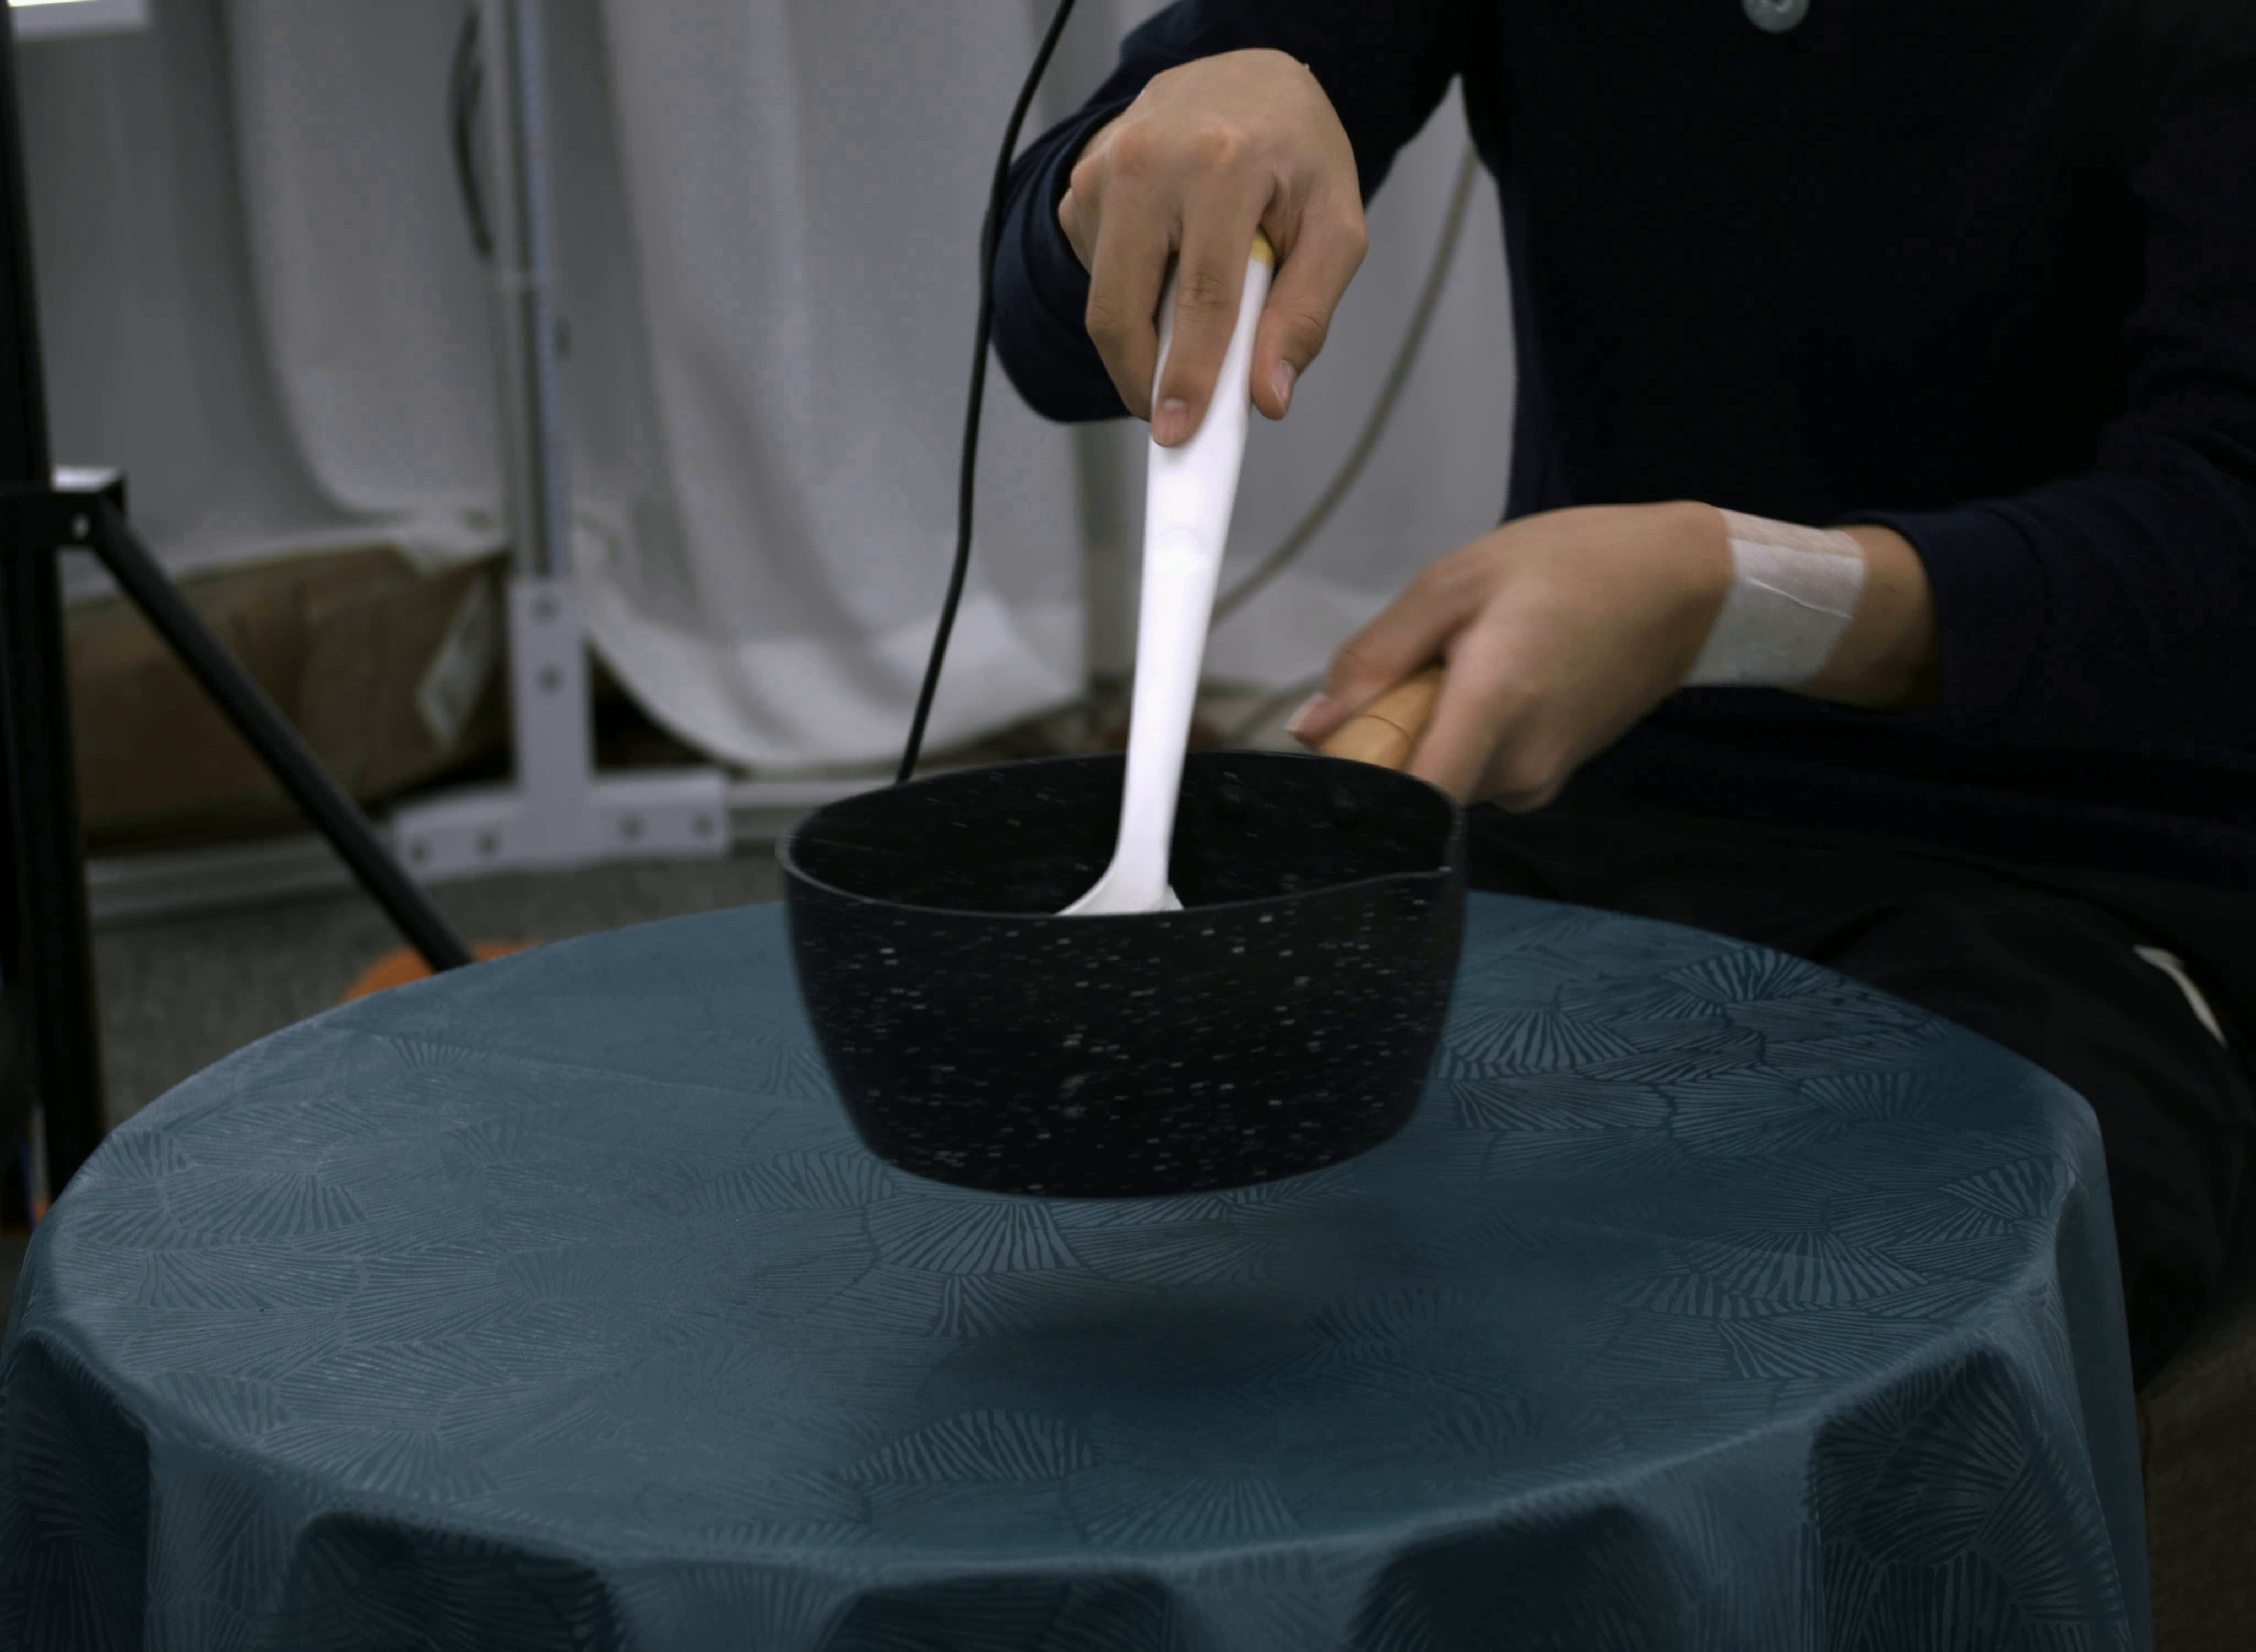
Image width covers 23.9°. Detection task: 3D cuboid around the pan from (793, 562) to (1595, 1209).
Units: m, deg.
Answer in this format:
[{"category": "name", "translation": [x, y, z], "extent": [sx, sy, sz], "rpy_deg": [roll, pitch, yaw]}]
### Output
[{"category": "pan", "translation": [0.044, 0.012, 1.497], "extent": [0.211, 0.108, 0.336], "rpy_deg": [4, 16, 32]}]

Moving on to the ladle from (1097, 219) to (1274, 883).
[{"category": "ladle", "translation": [0.002, -0.052, 1.505], "extent": [0.091, 0.295, 0.069], "rpy_deg": [0, -27, 19]}]
